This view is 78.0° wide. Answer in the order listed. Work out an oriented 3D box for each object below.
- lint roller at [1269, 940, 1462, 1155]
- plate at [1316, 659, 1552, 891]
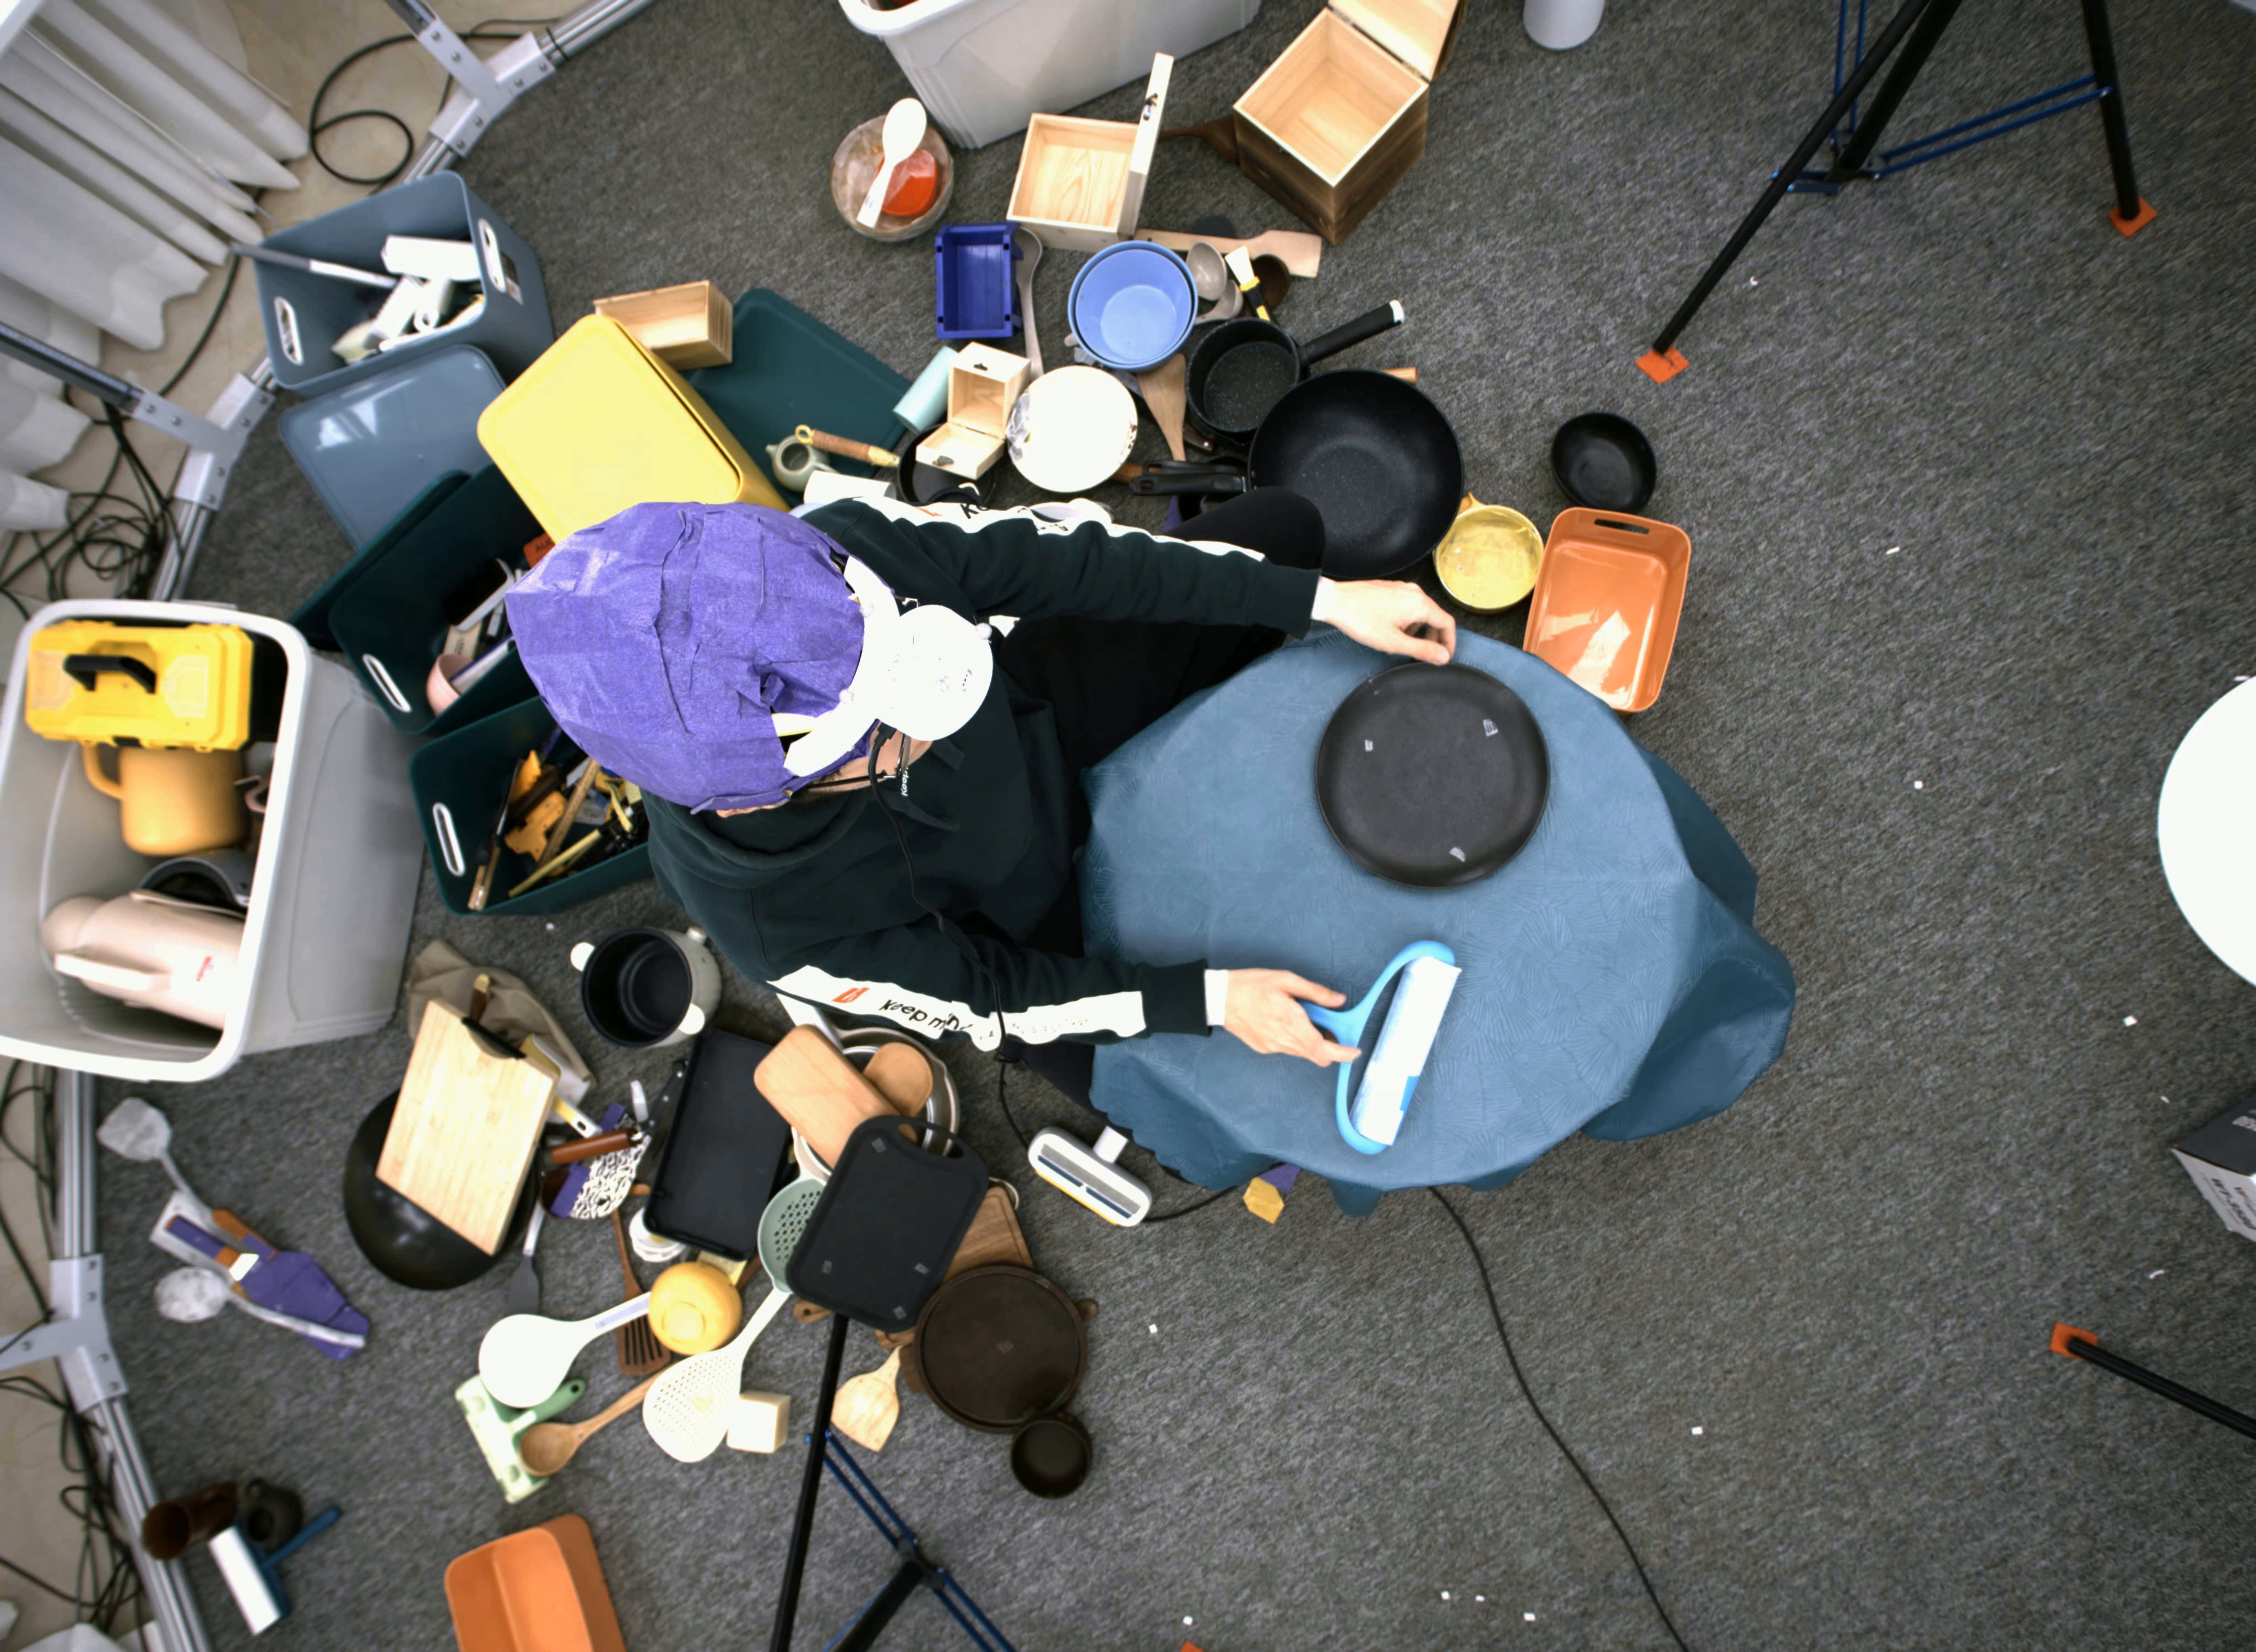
[{"bbox_3d":[0.229,0.209,1.428,0.180,0.068,0.229,17,91,11],"label":"lint roller"},{"bbox_3d":[0.319,-0.055,1.441,0.245,0.023,0.243,-1,87,10],"label":"plate"}]
